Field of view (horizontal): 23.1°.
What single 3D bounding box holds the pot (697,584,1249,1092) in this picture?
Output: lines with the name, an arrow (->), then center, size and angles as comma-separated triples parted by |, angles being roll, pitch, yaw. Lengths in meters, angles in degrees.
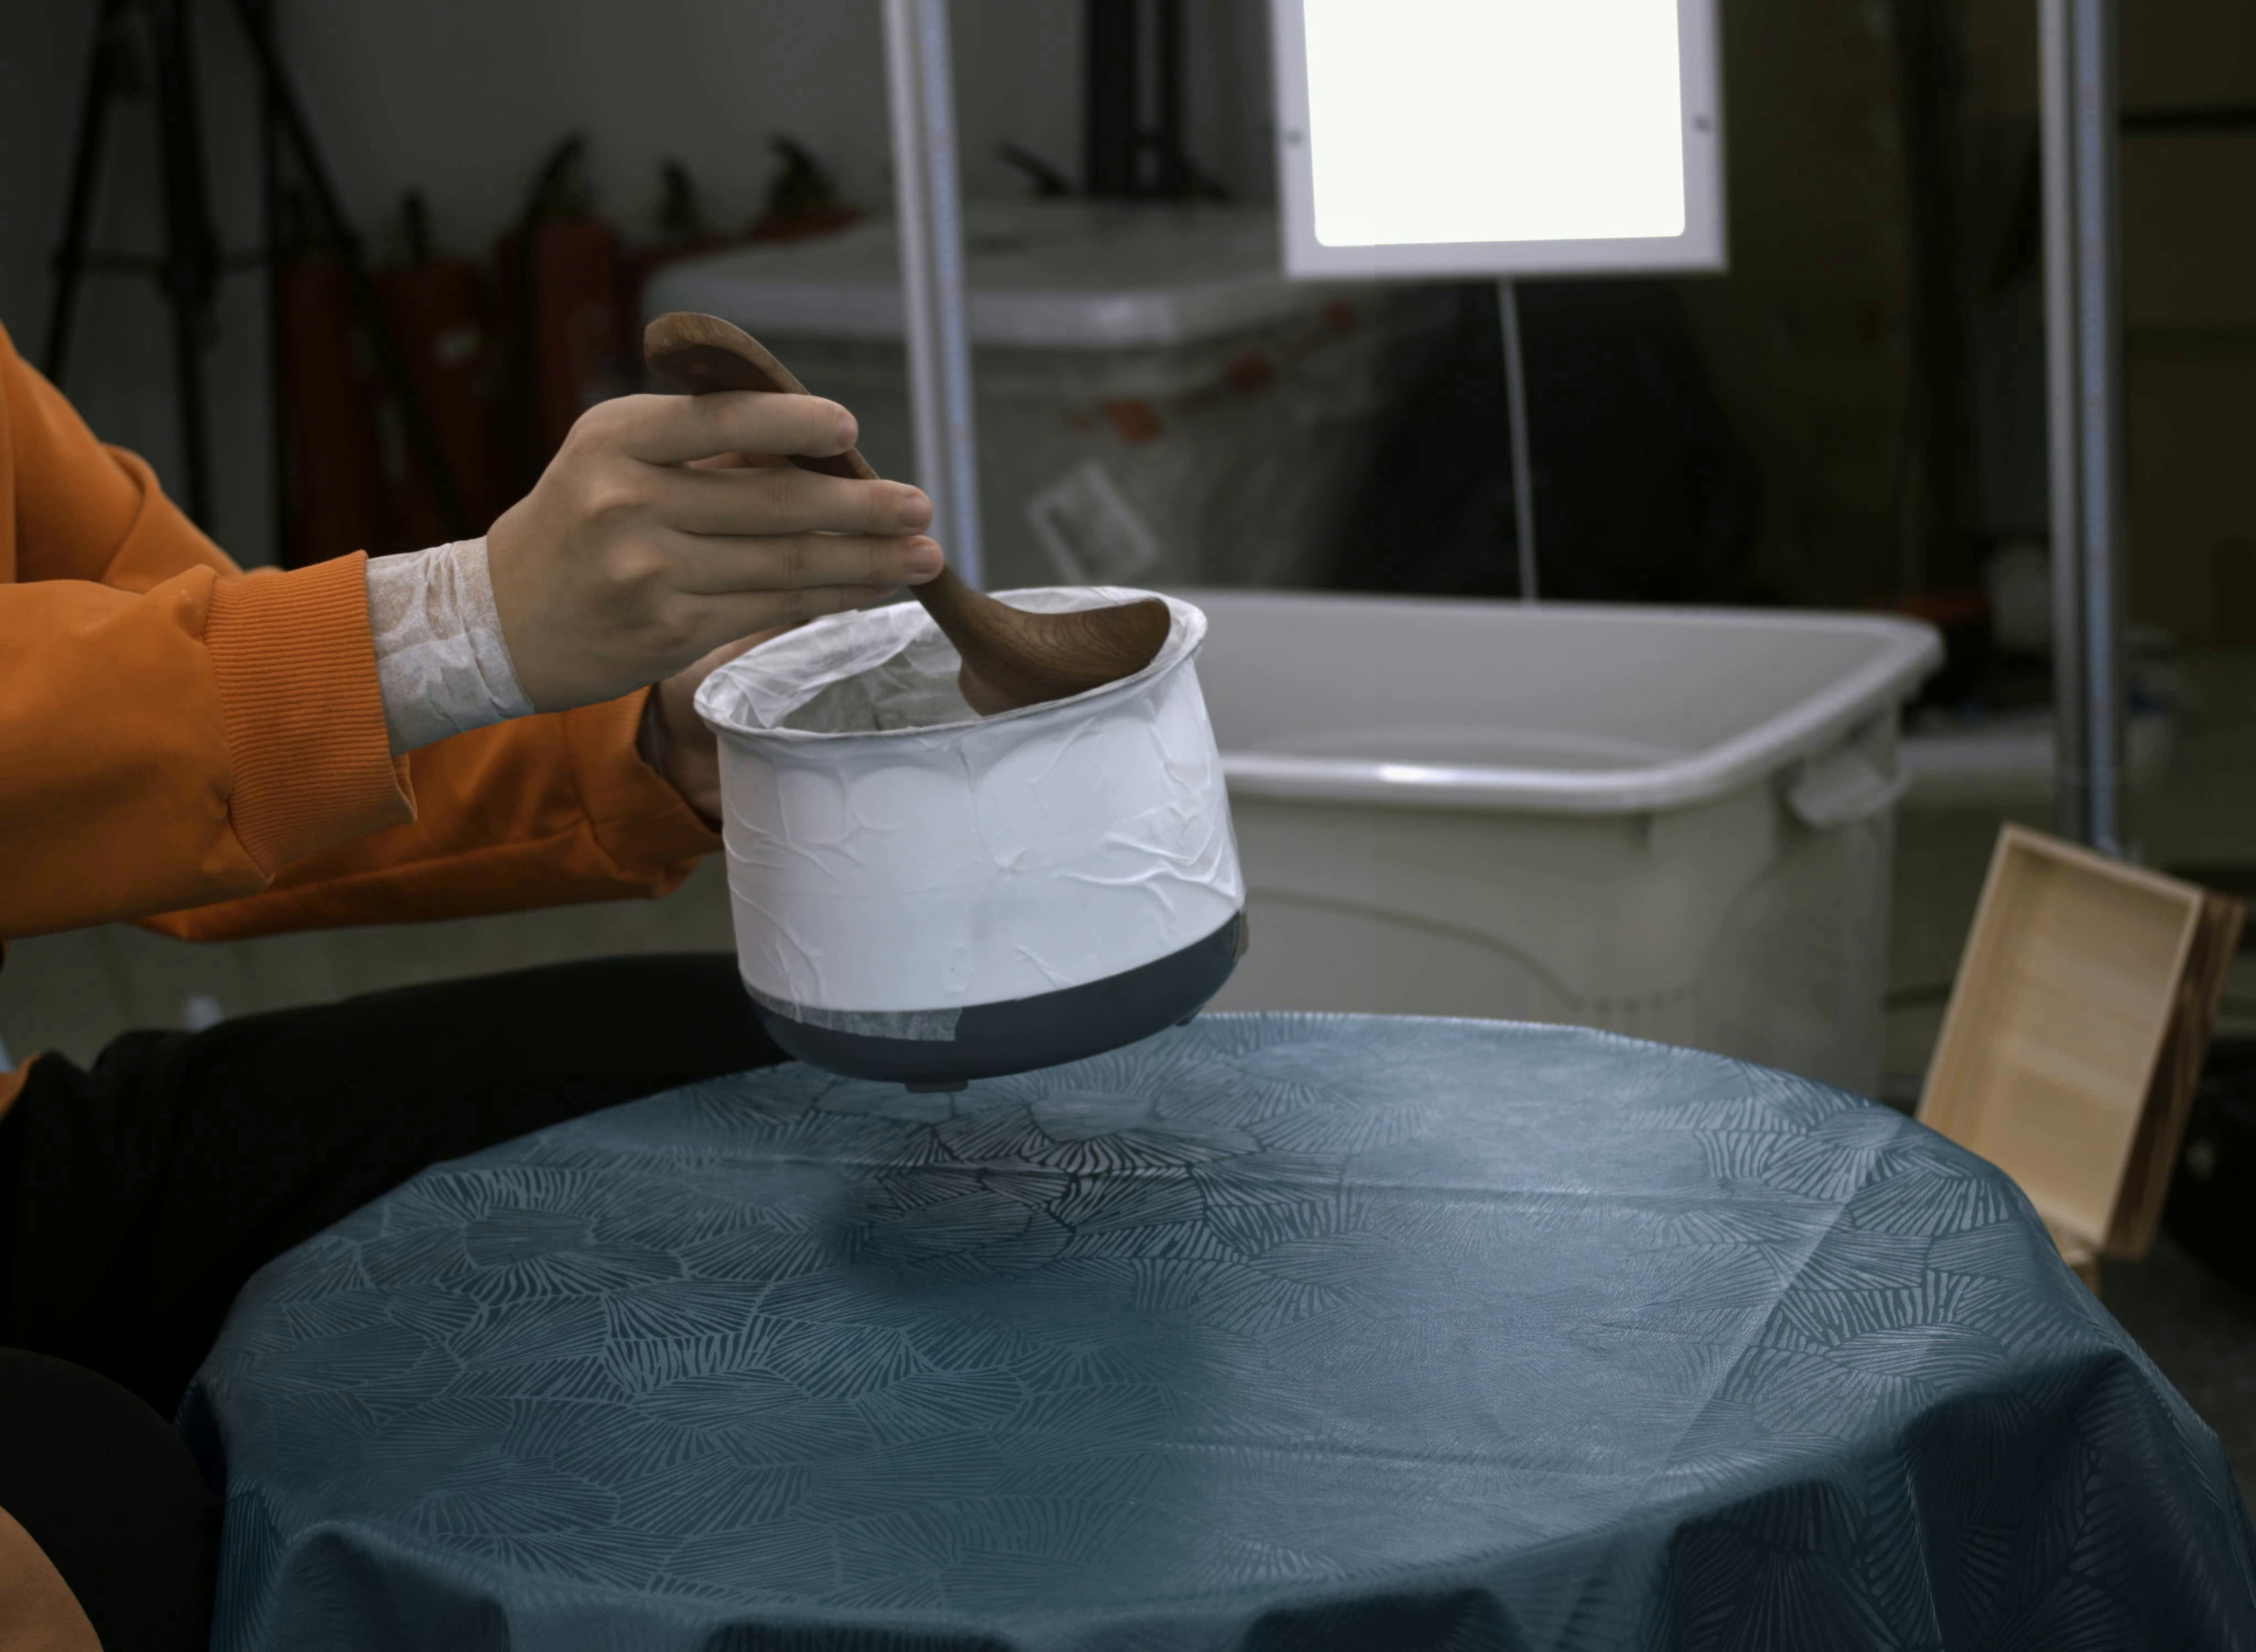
pot -> -0.064, -0.002, 1.910 | 0.175, 0.137, 0.237 | -16, 17, -23

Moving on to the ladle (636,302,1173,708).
ladle -> -0.075, -0.106, 1.766 | 0.077, 0.256, 0.065 | -29, 43, 22
